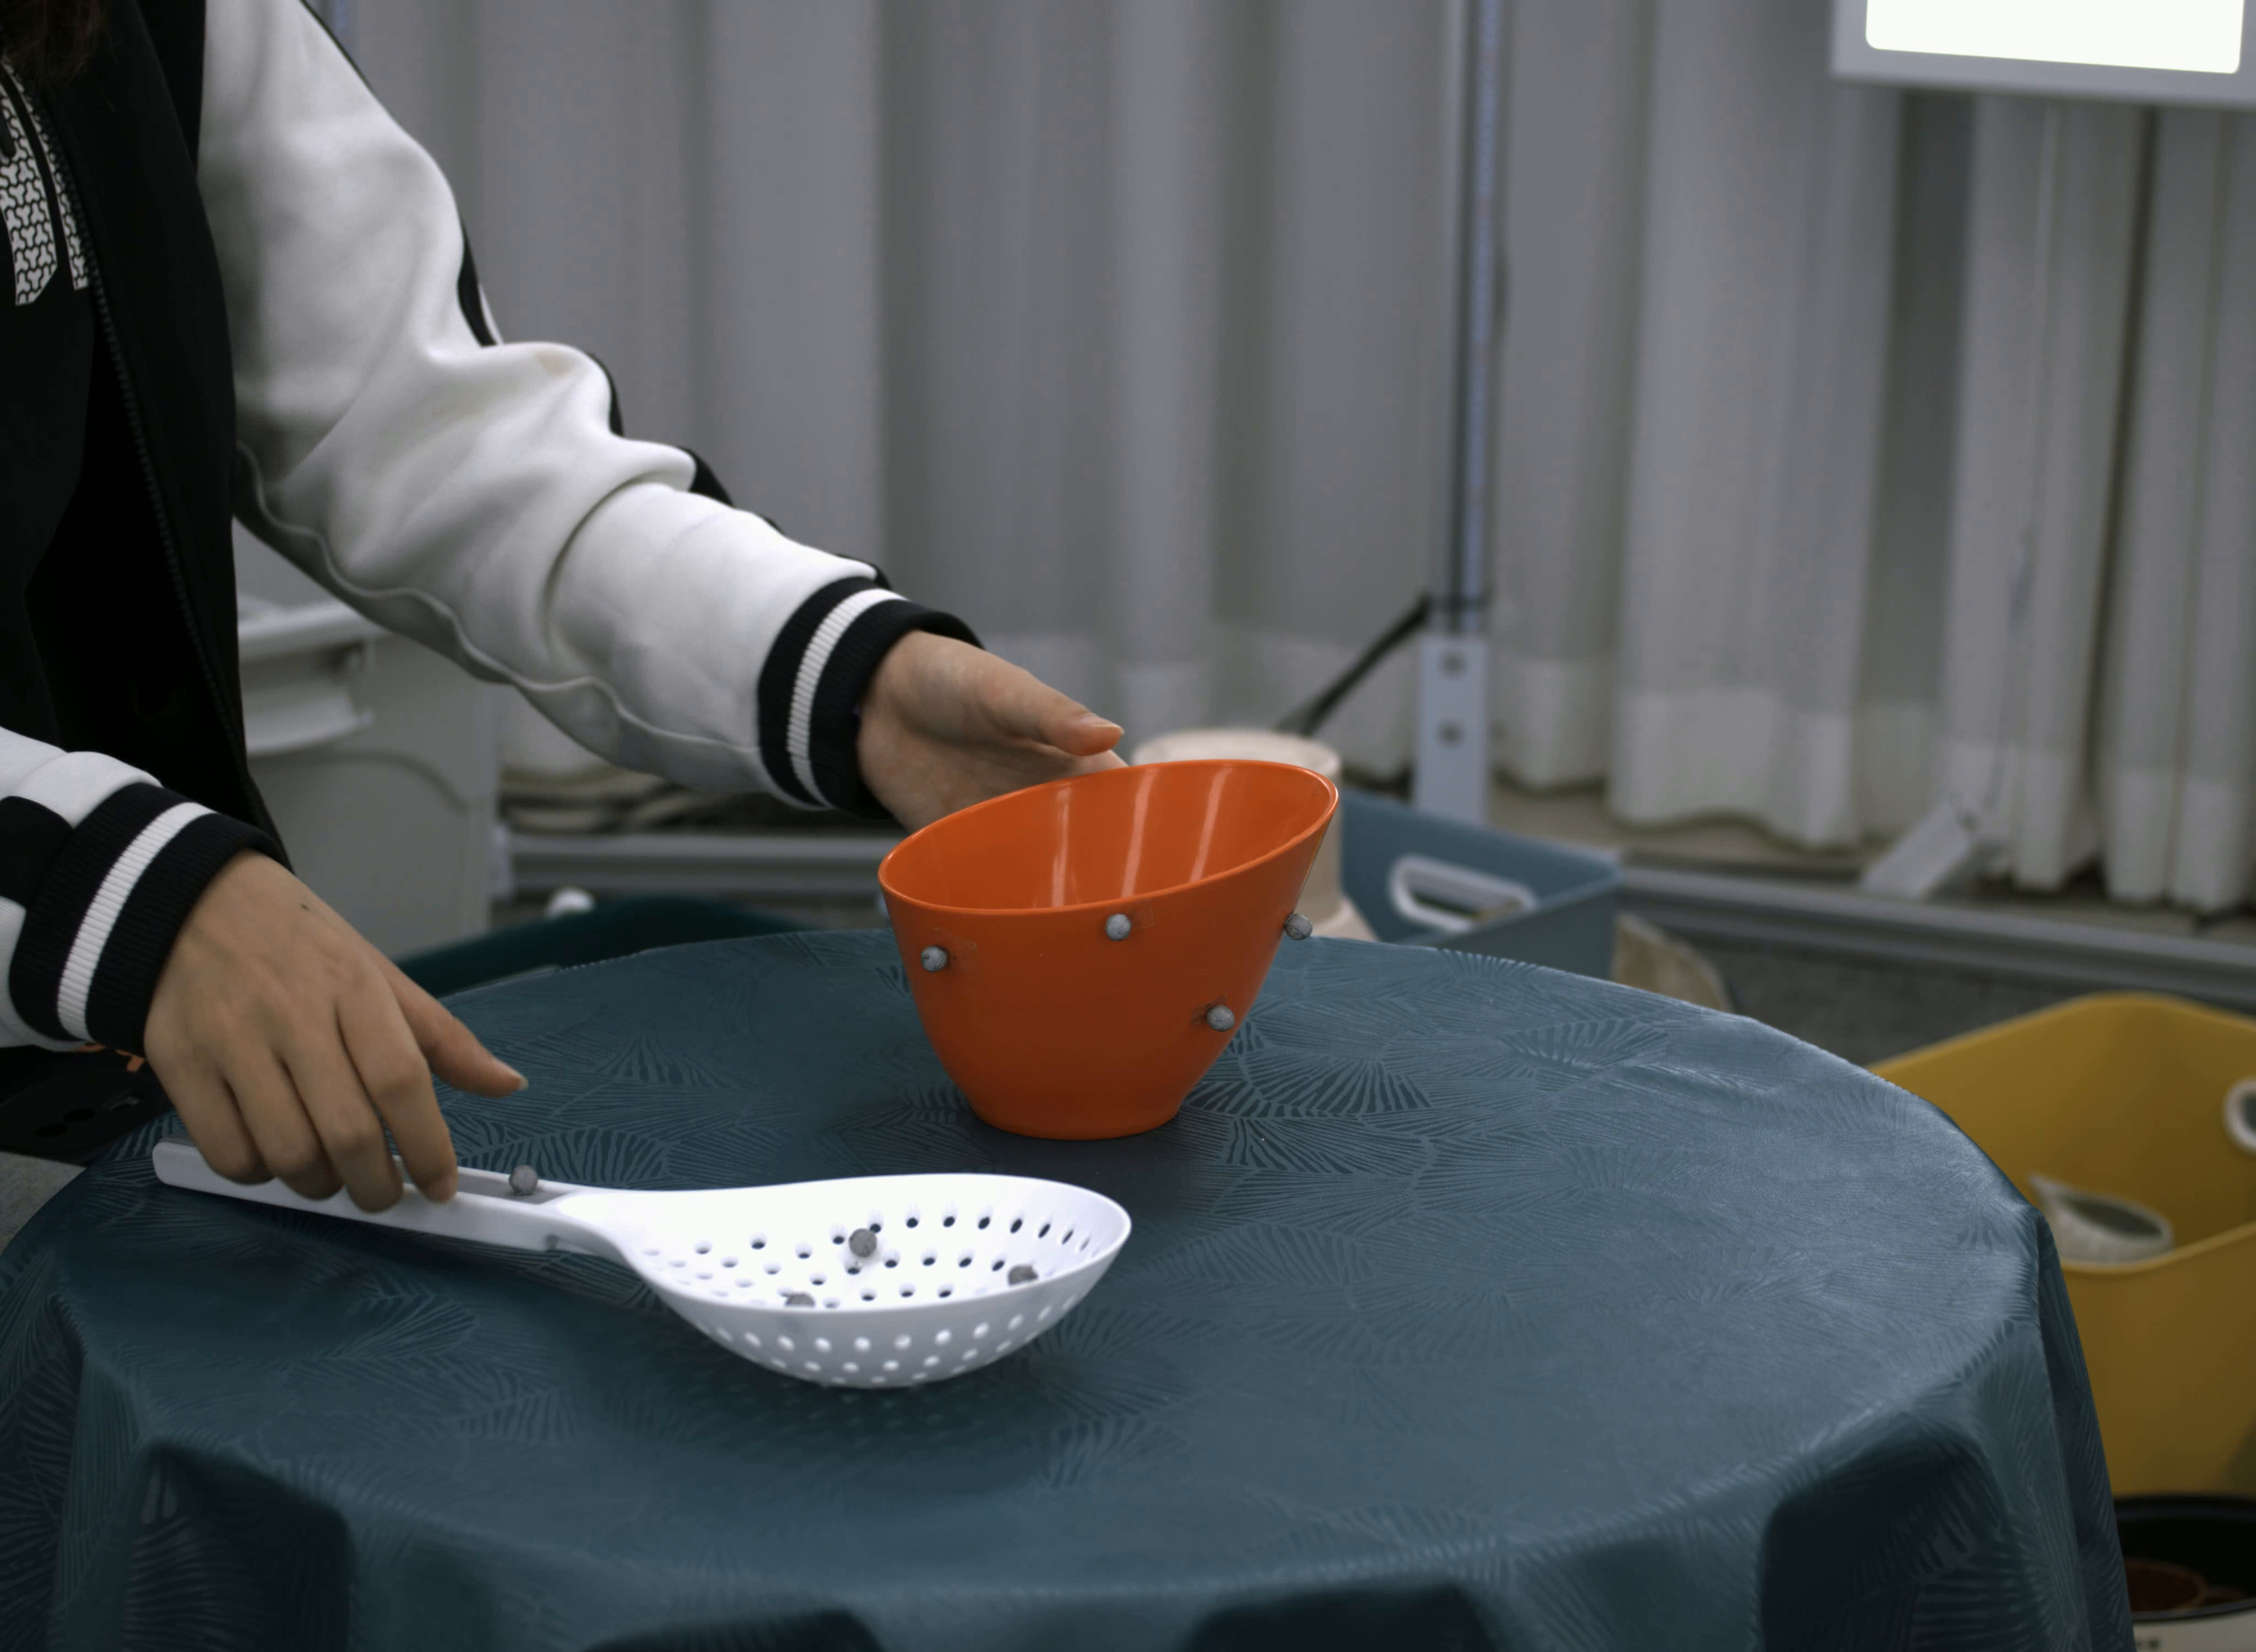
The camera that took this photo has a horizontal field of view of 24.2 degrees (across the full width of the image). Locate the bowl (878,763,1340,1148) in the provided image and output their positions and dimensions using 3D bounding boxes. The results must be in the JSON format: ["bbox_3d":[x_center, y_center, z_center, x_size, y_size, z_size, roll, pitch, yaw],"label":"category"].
[{"bbox_3d":[-0.006,0.043,1.684,0.147,0.105,0.147,0,17,1],"label":"bowl"}]

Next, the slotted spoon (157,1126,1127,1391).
[{"bbox_3d":[-0.154,0.115,1.524,0.345,0.046,0.136,11,17,35],"label":"slotted spoon"}]
